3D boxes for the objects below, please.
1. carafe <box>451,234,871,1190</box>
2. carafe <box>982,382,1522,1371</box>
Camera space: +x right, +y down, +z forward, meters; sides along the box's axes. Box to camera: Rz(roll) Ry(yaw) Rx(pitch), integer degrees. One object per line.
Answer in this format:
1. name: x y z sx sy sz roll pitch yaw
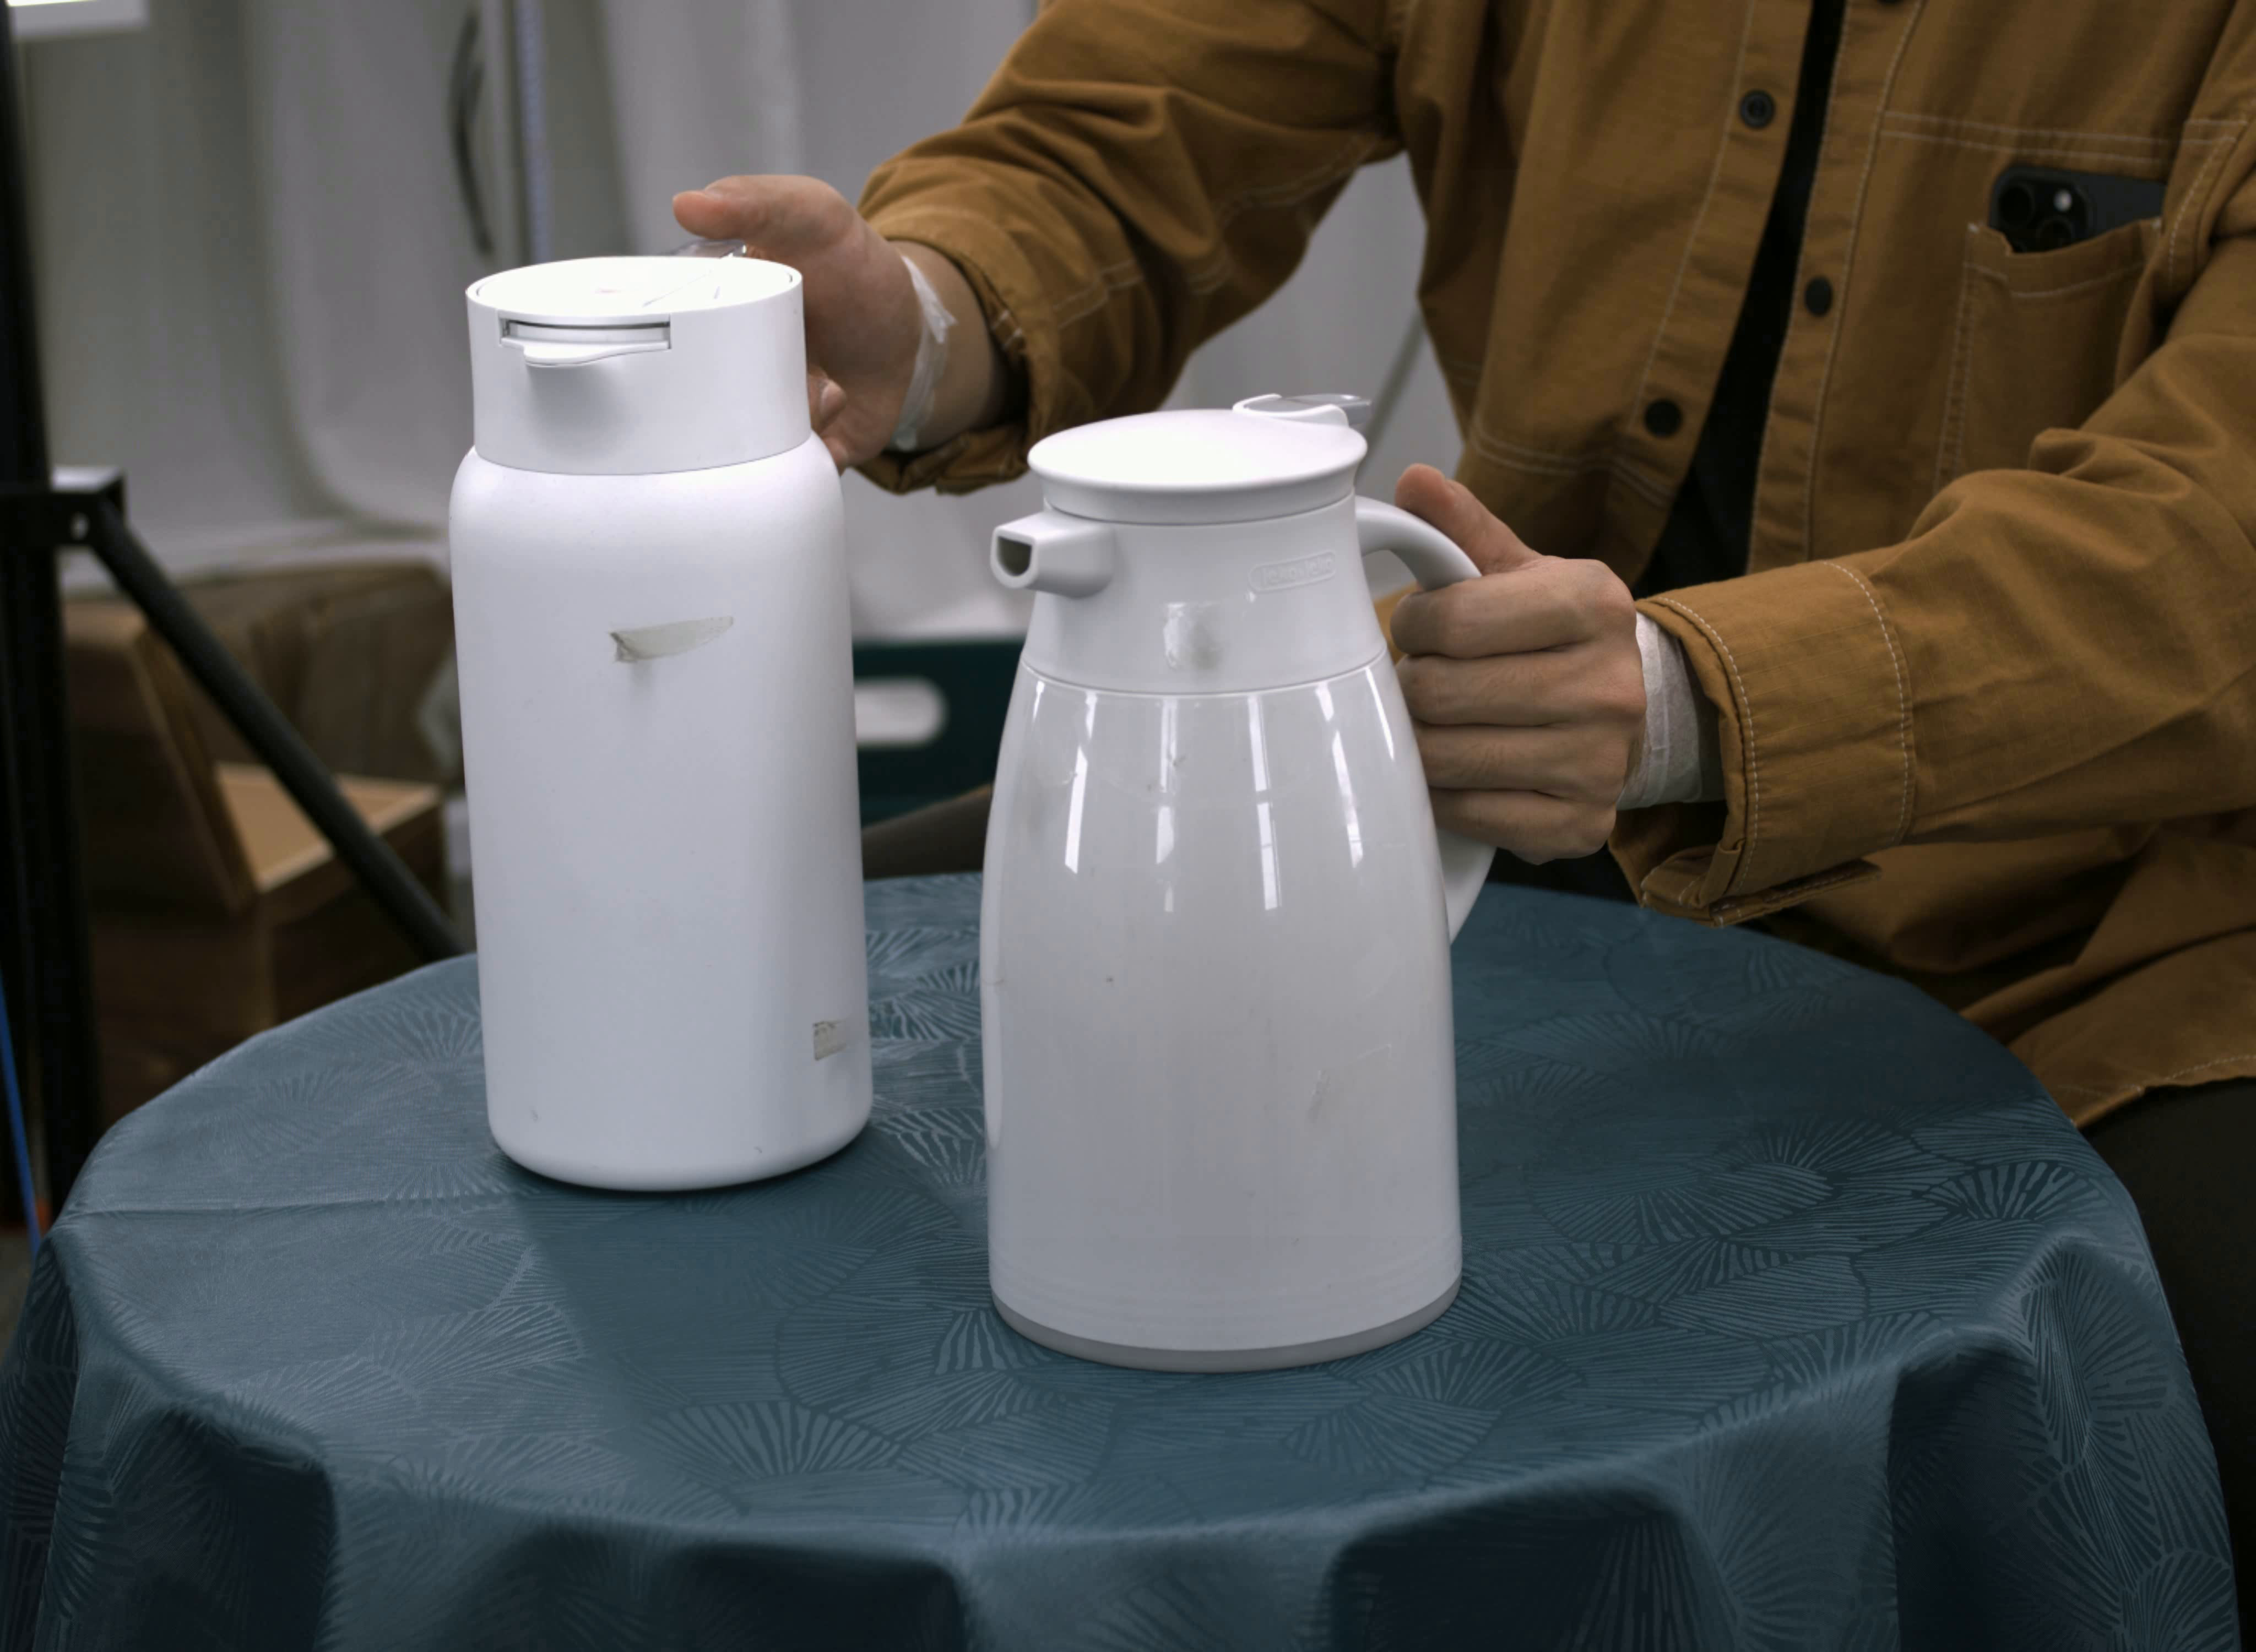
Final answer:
1. carafe: -0.136 -0.038 1.604 0.125 0.269 0.171 1 15 17
2. carafe: 0.038 0.005 1.455 0.164 0.248 0.135 -12 18 -34
